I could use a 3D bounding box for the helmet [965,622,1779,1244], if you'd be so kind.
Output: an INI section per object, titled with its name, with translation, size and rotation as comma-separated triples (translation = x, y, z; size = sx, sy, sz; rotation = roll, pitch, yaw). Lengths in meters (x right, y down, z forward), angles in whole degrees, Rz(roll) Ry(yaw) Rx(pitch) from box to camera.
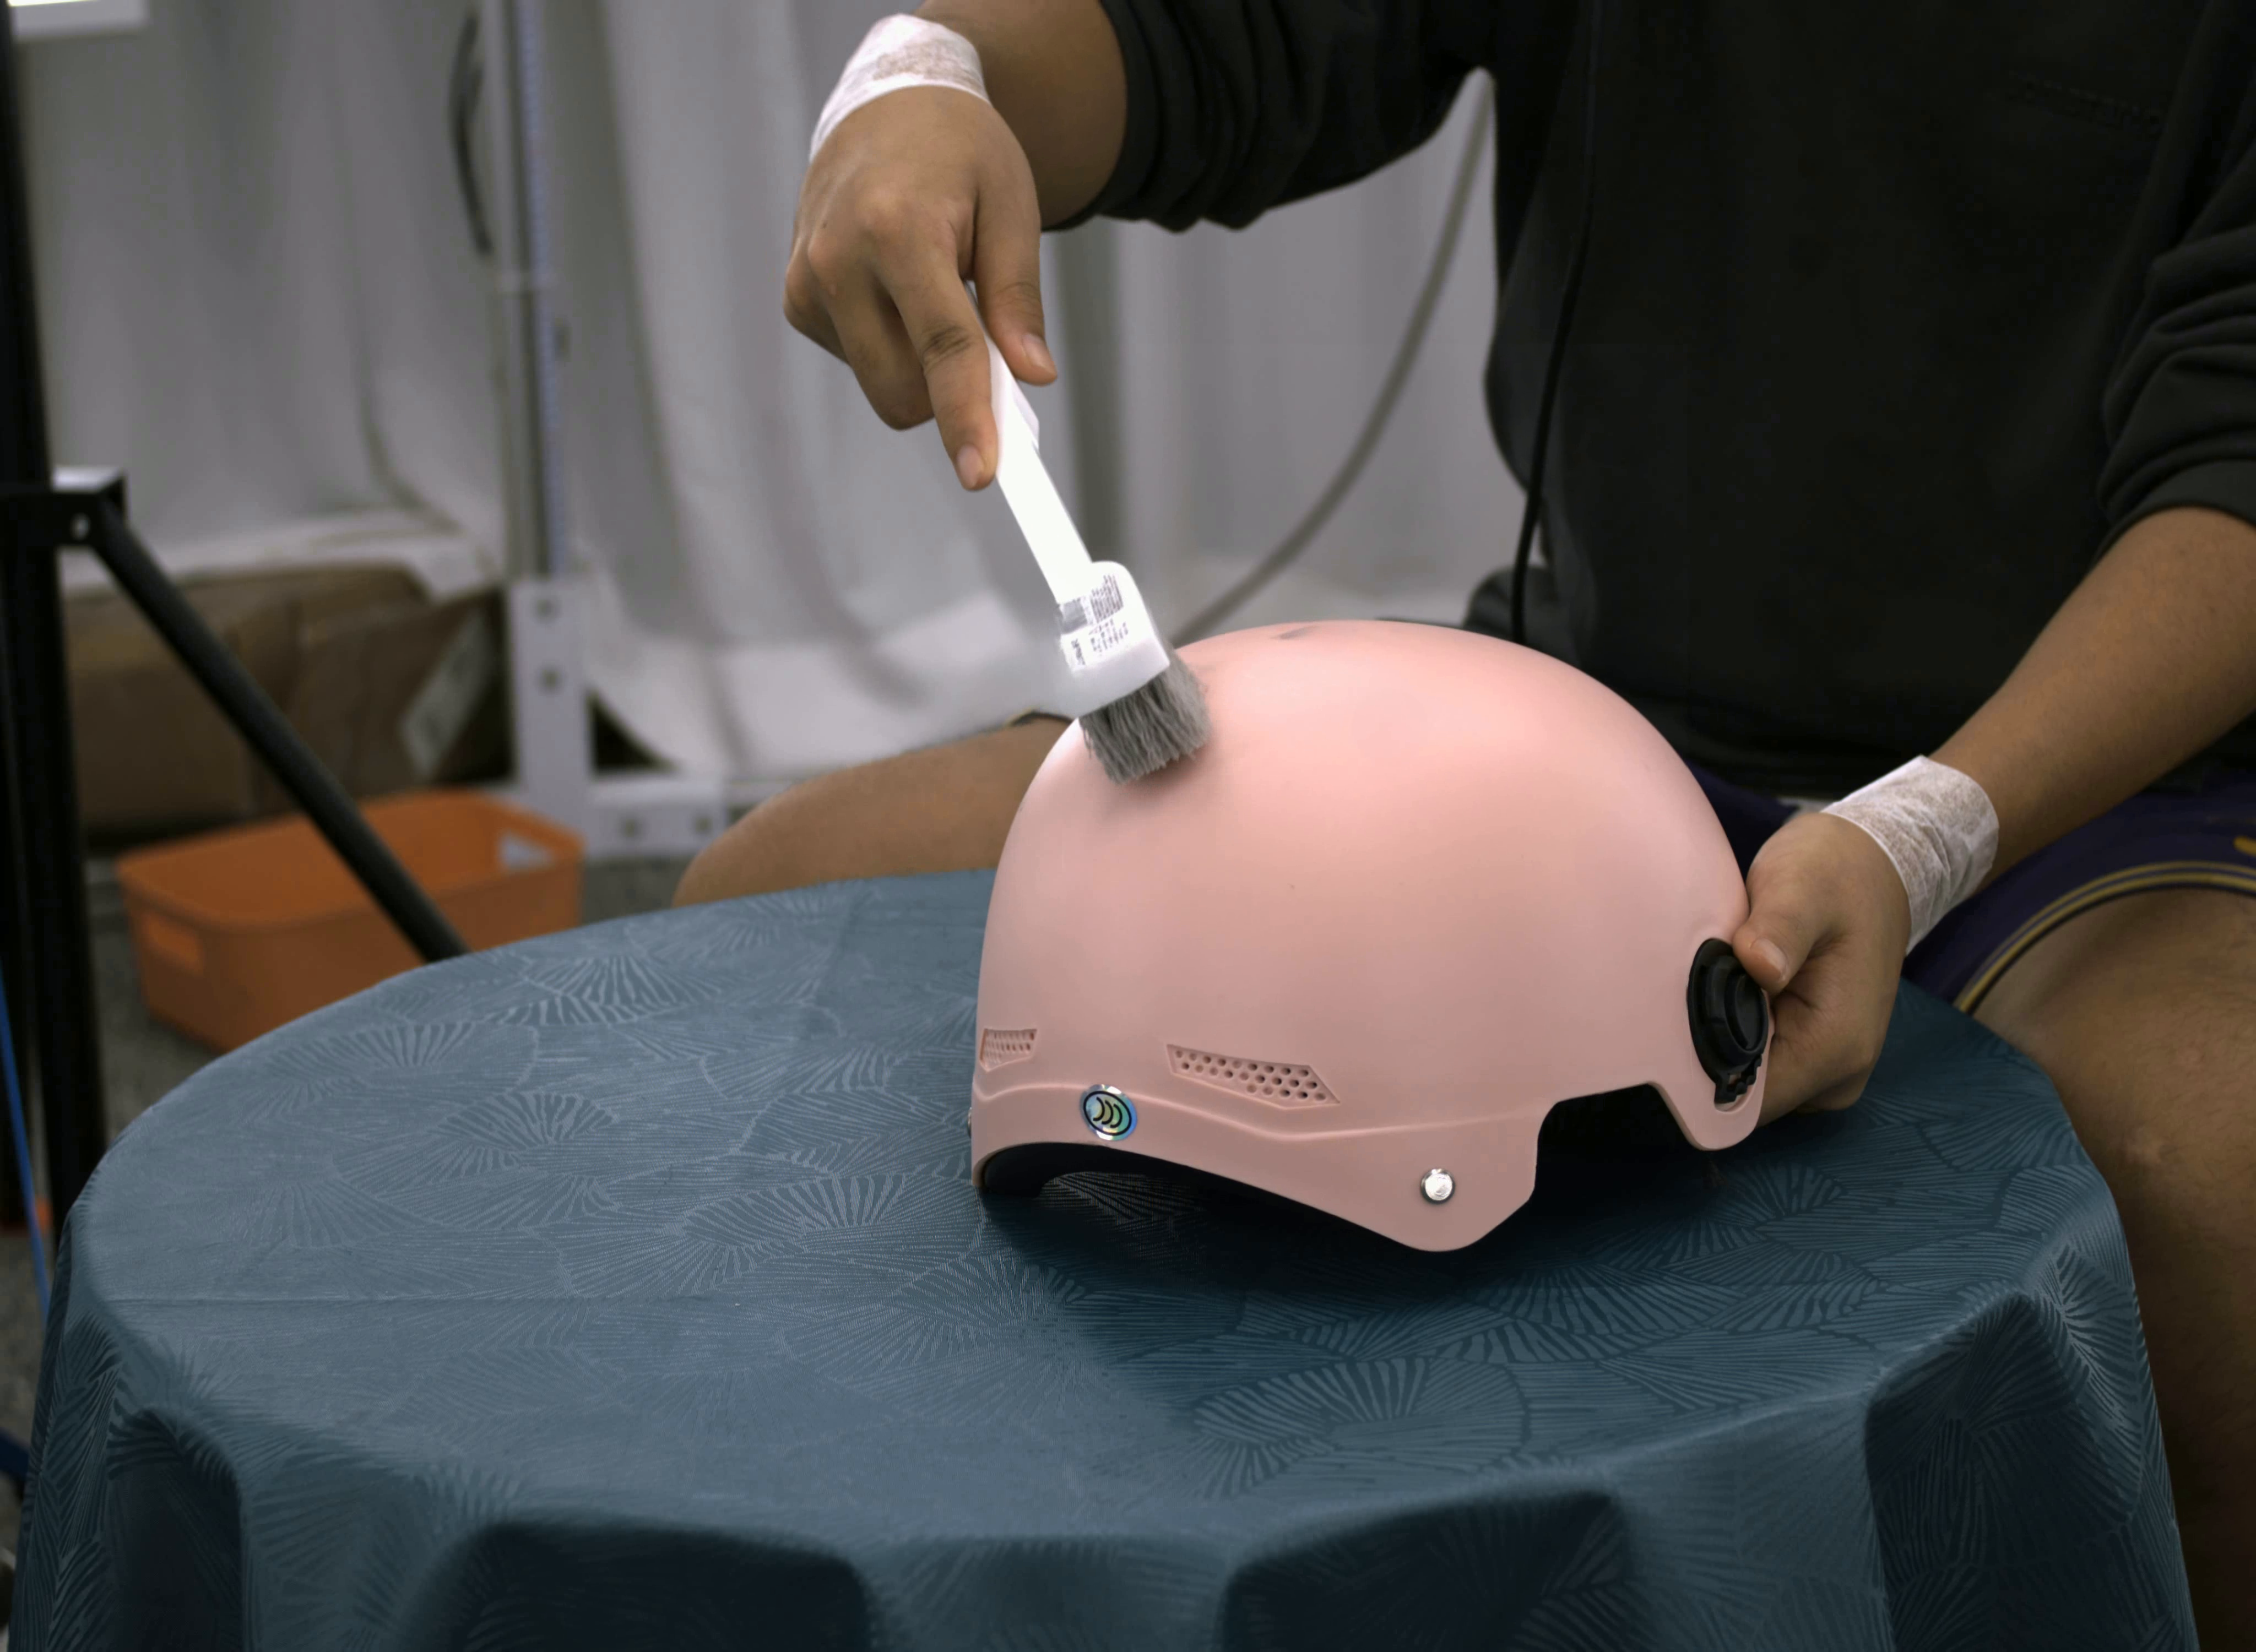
[helmet]
translation = 0.072, 0.018, 1.565
size = 0.239, 0.159, 0.260
rotation = 4, 12, 41

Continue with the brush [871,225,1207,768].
[brush]
translation = -0.028, -0.098, 1.565
size = 0.034, 0.049, 0.248
rotation = -29, 40, 2
